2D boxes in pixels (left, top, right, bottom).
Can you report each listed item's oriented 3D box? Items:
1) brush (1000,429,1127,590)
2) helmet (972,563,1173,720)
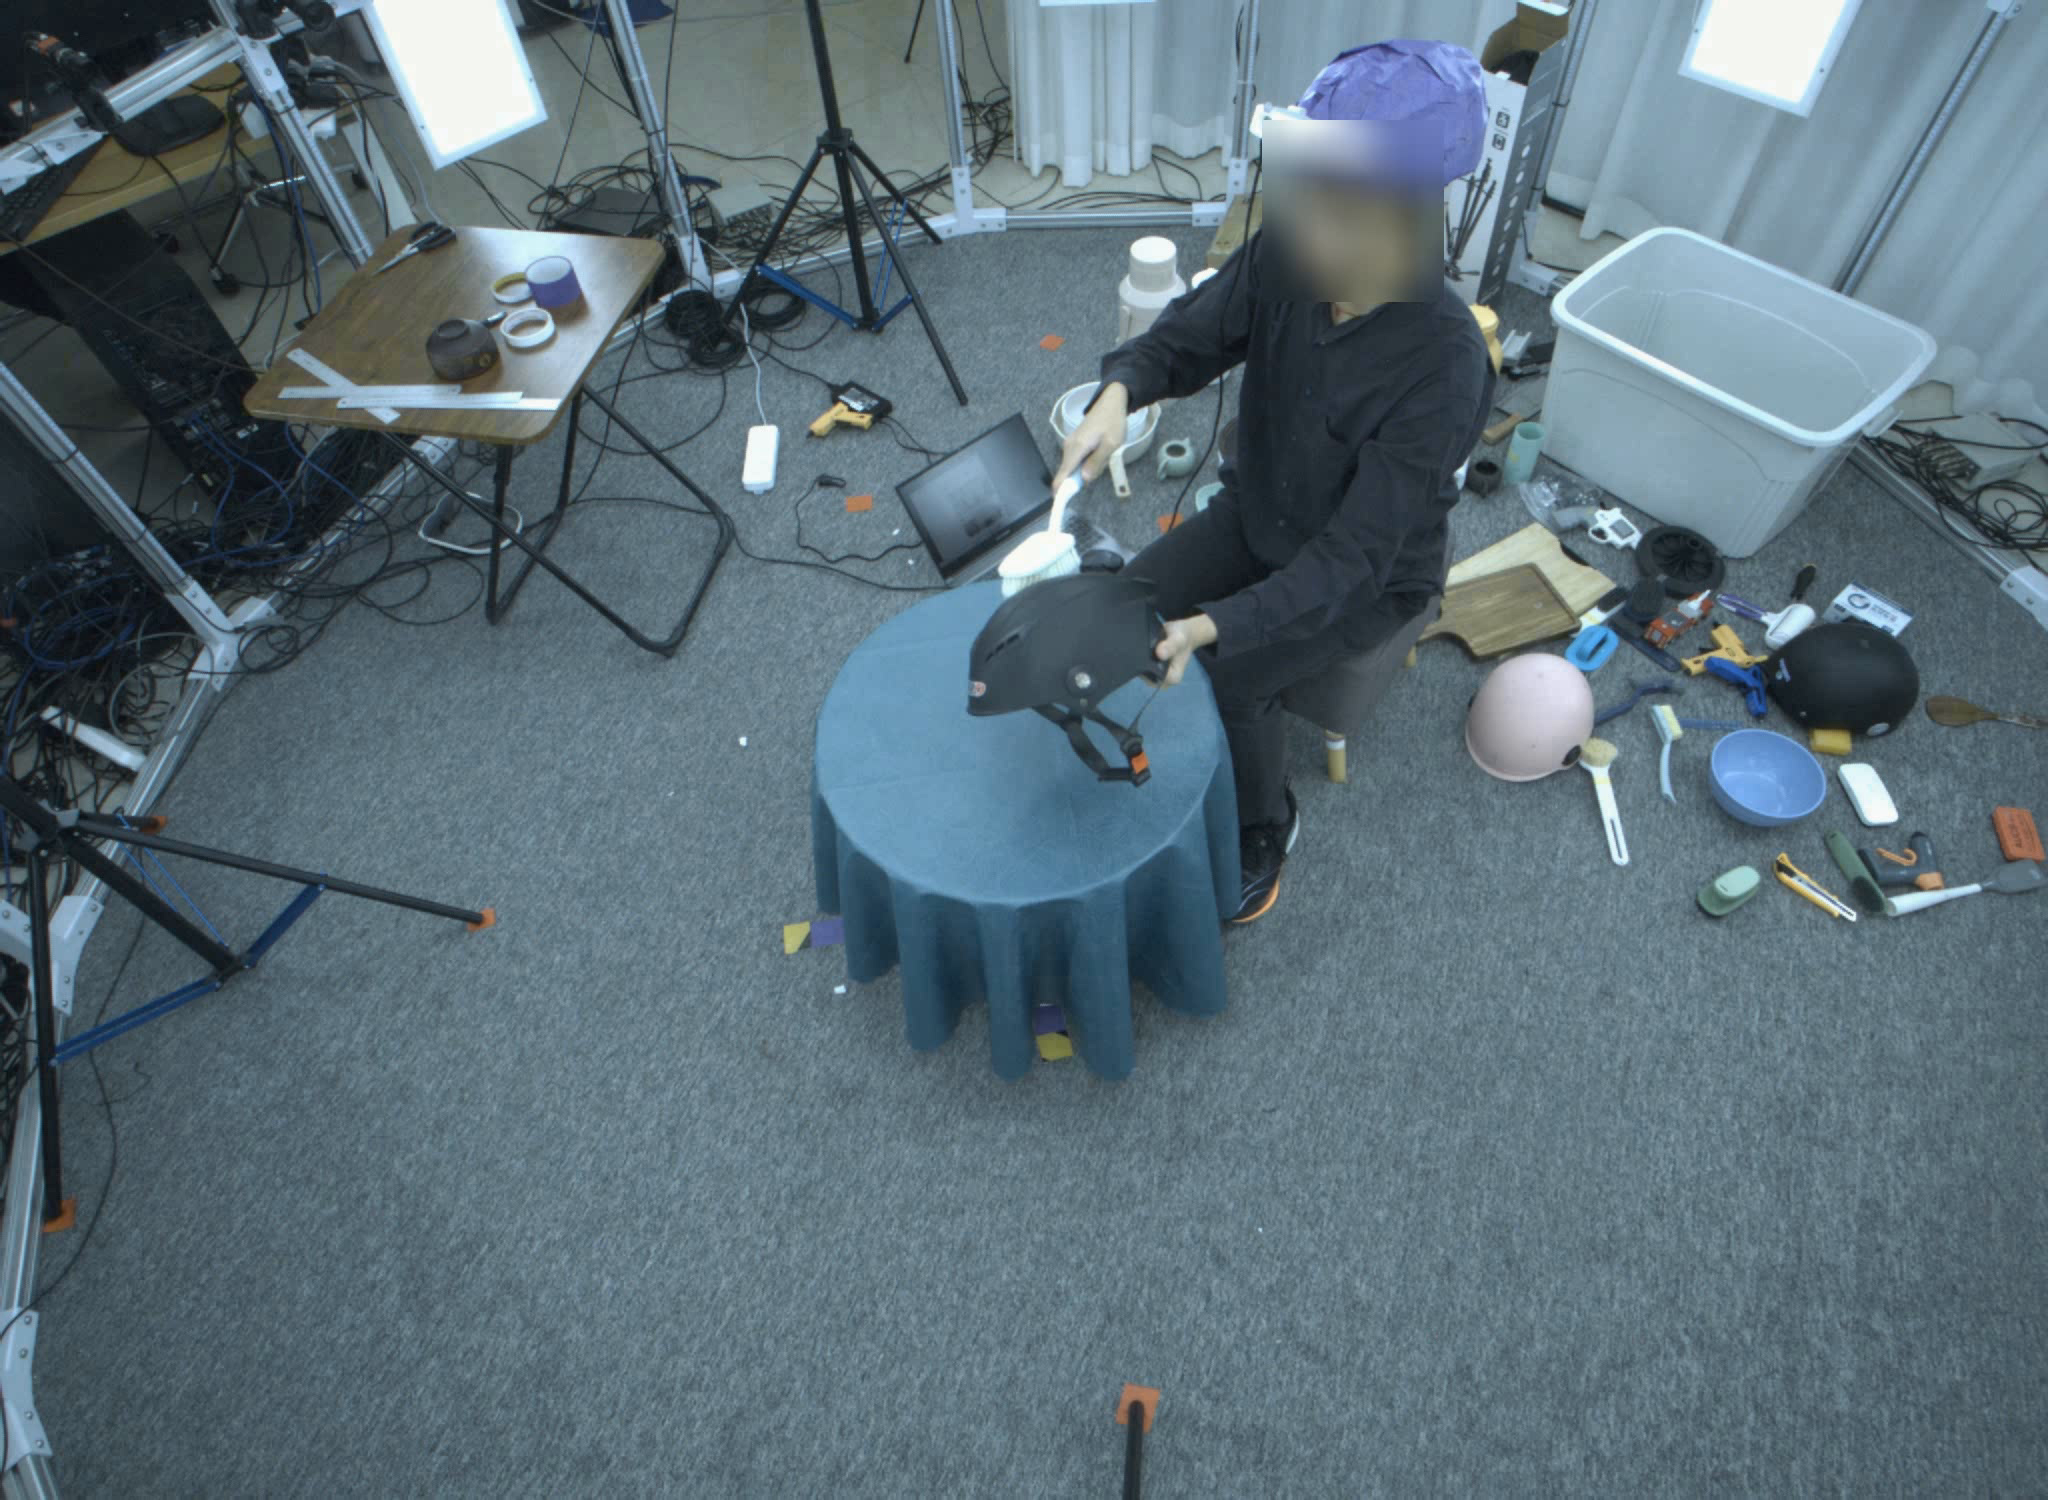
[{"bbox_3d":[0.071,-0.318,1.674,0.083,0.084,0.326,33,60,4],"label":"brush"},{"bbox_3d":[0.054,-0.144,1.576,0.279,0.173,0.242,-20,14,-17],"label":"helmet"}]
